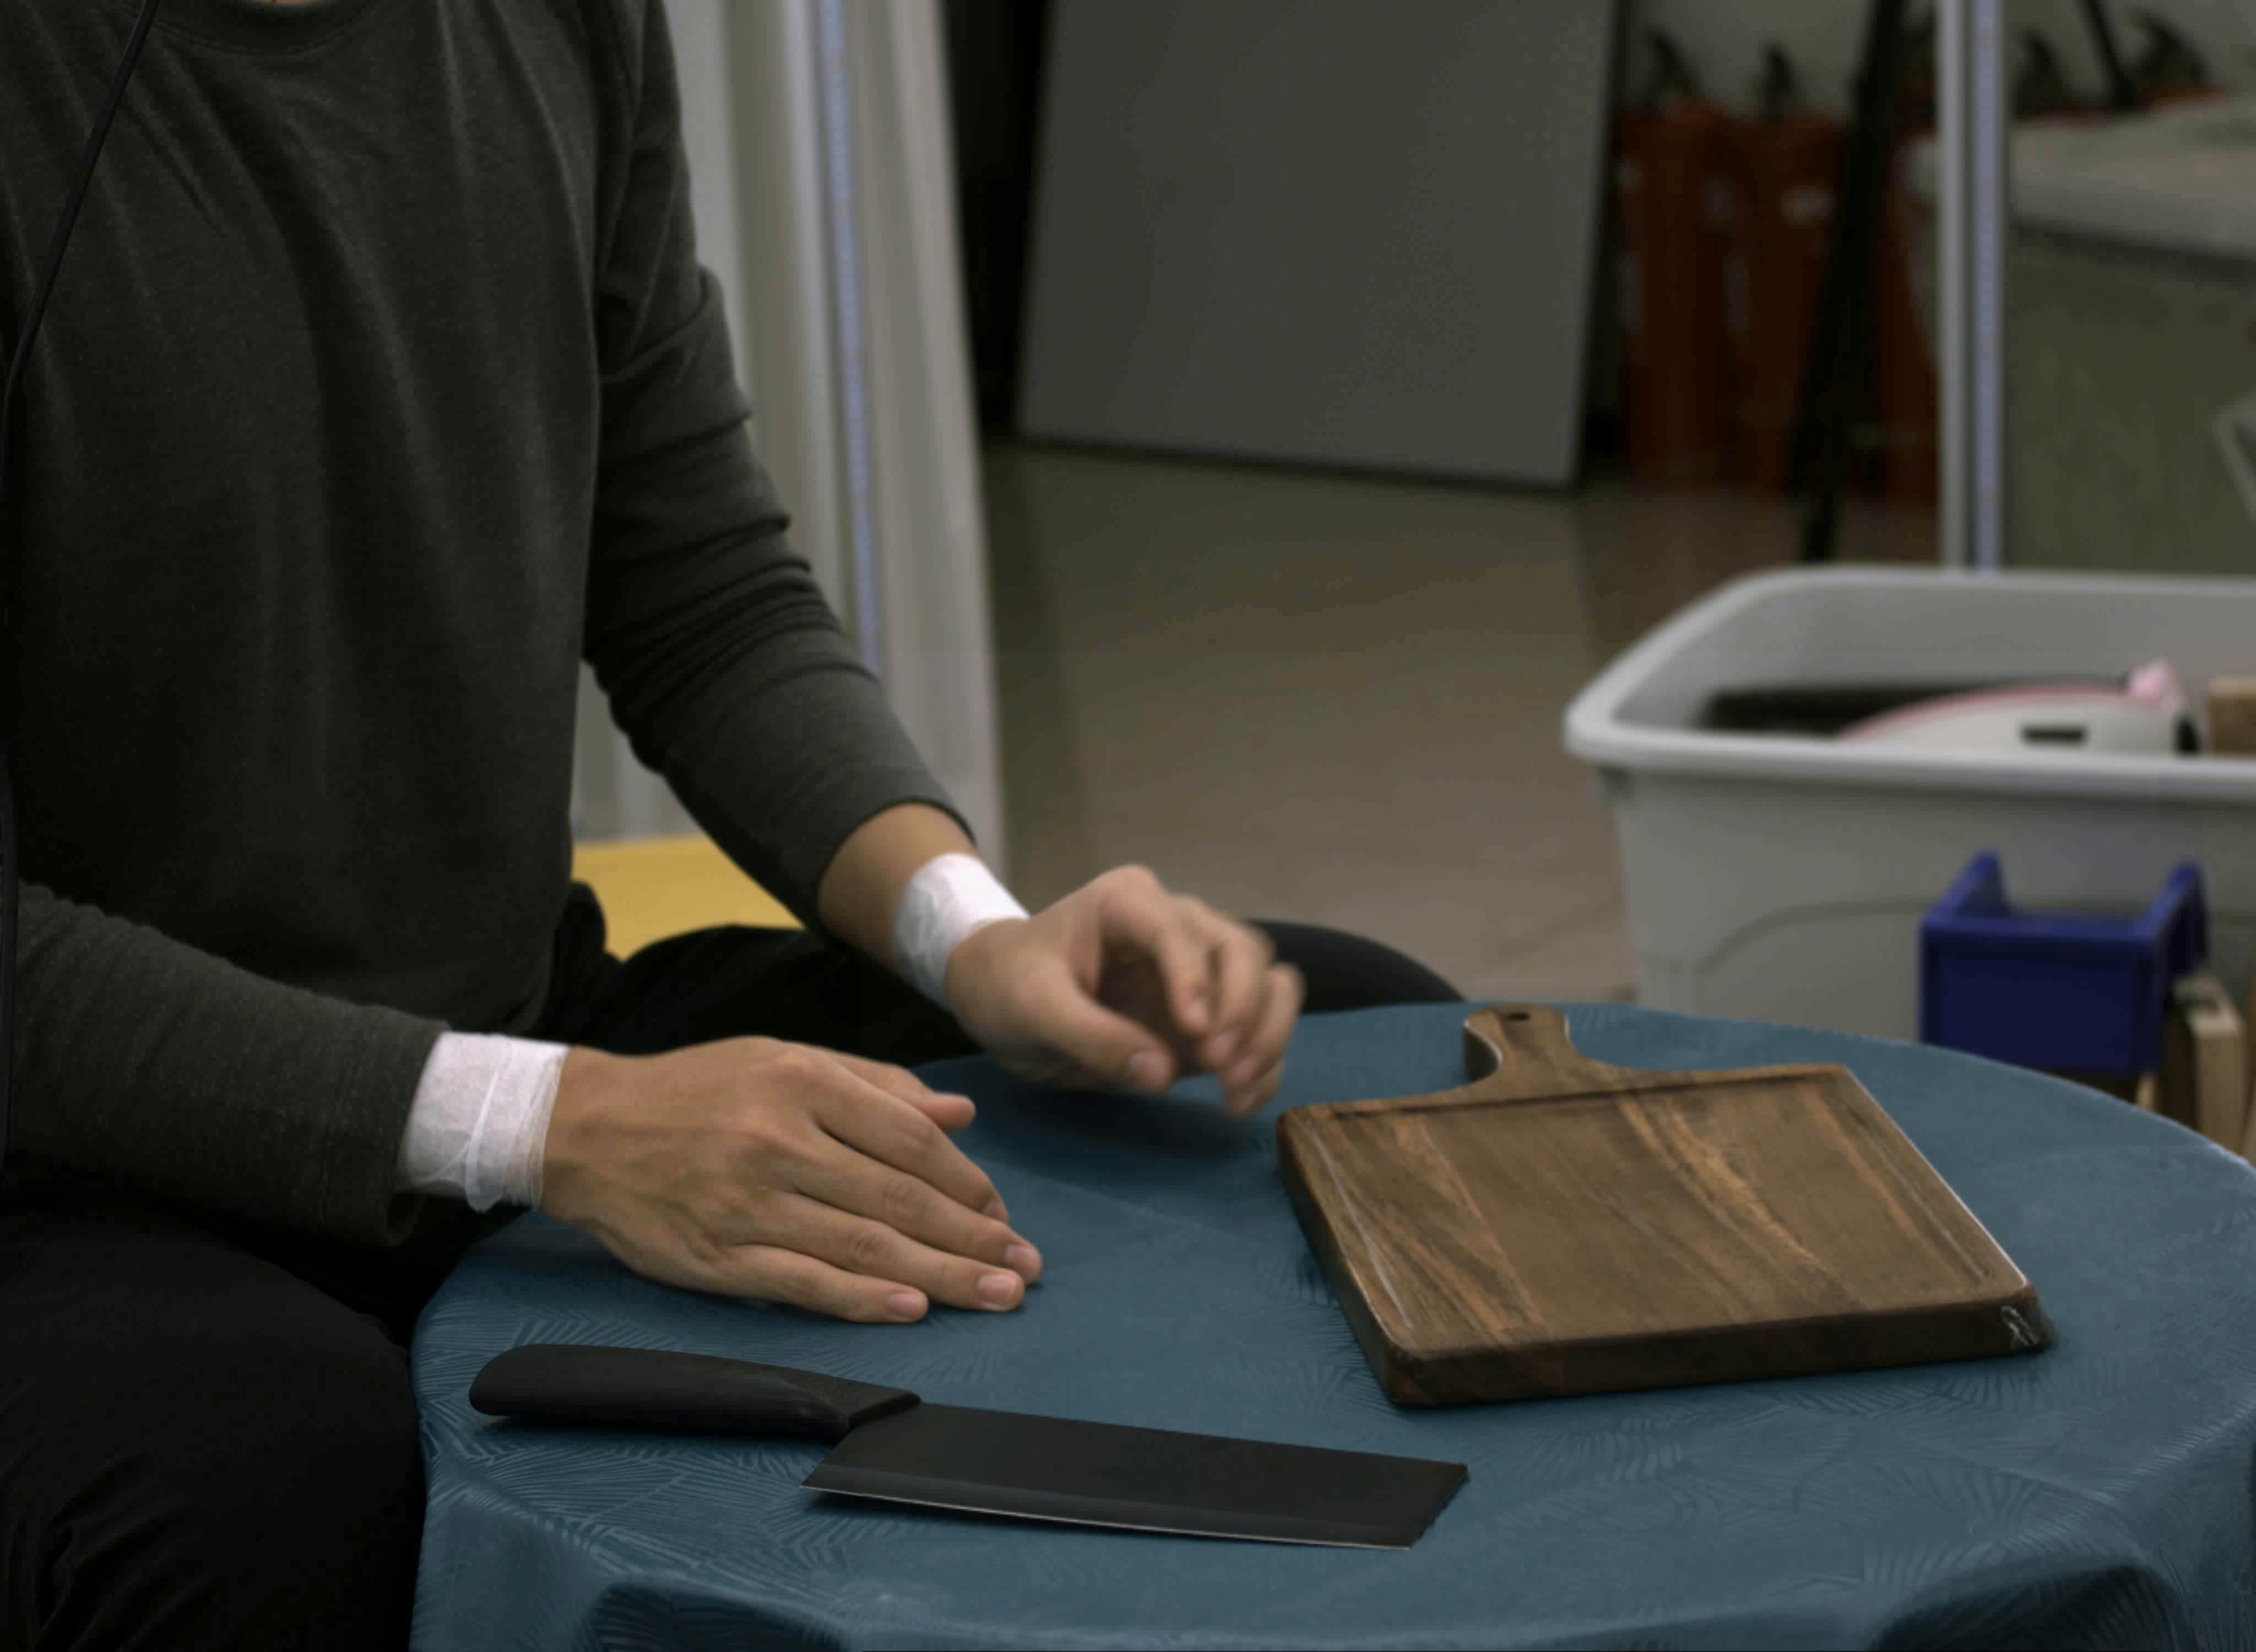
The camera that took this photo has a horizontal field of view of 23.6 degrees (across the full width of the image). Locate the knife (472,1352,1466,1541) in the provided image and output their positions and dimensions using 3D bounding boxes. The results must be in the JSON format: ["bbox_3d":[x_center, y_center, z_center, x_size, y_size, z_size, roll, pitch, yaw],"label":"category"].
[{"bbox_3d":[-0.051,0.177,1.531,0.303,0.021,0.080,4,17,26],"label":"knife"}]

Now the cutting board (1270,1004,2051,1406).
[{"bbox_3d":[0.153,0.112,1.723,0.198,0.023,0.353,-5,13,-5],"label":"cutting board"}]
